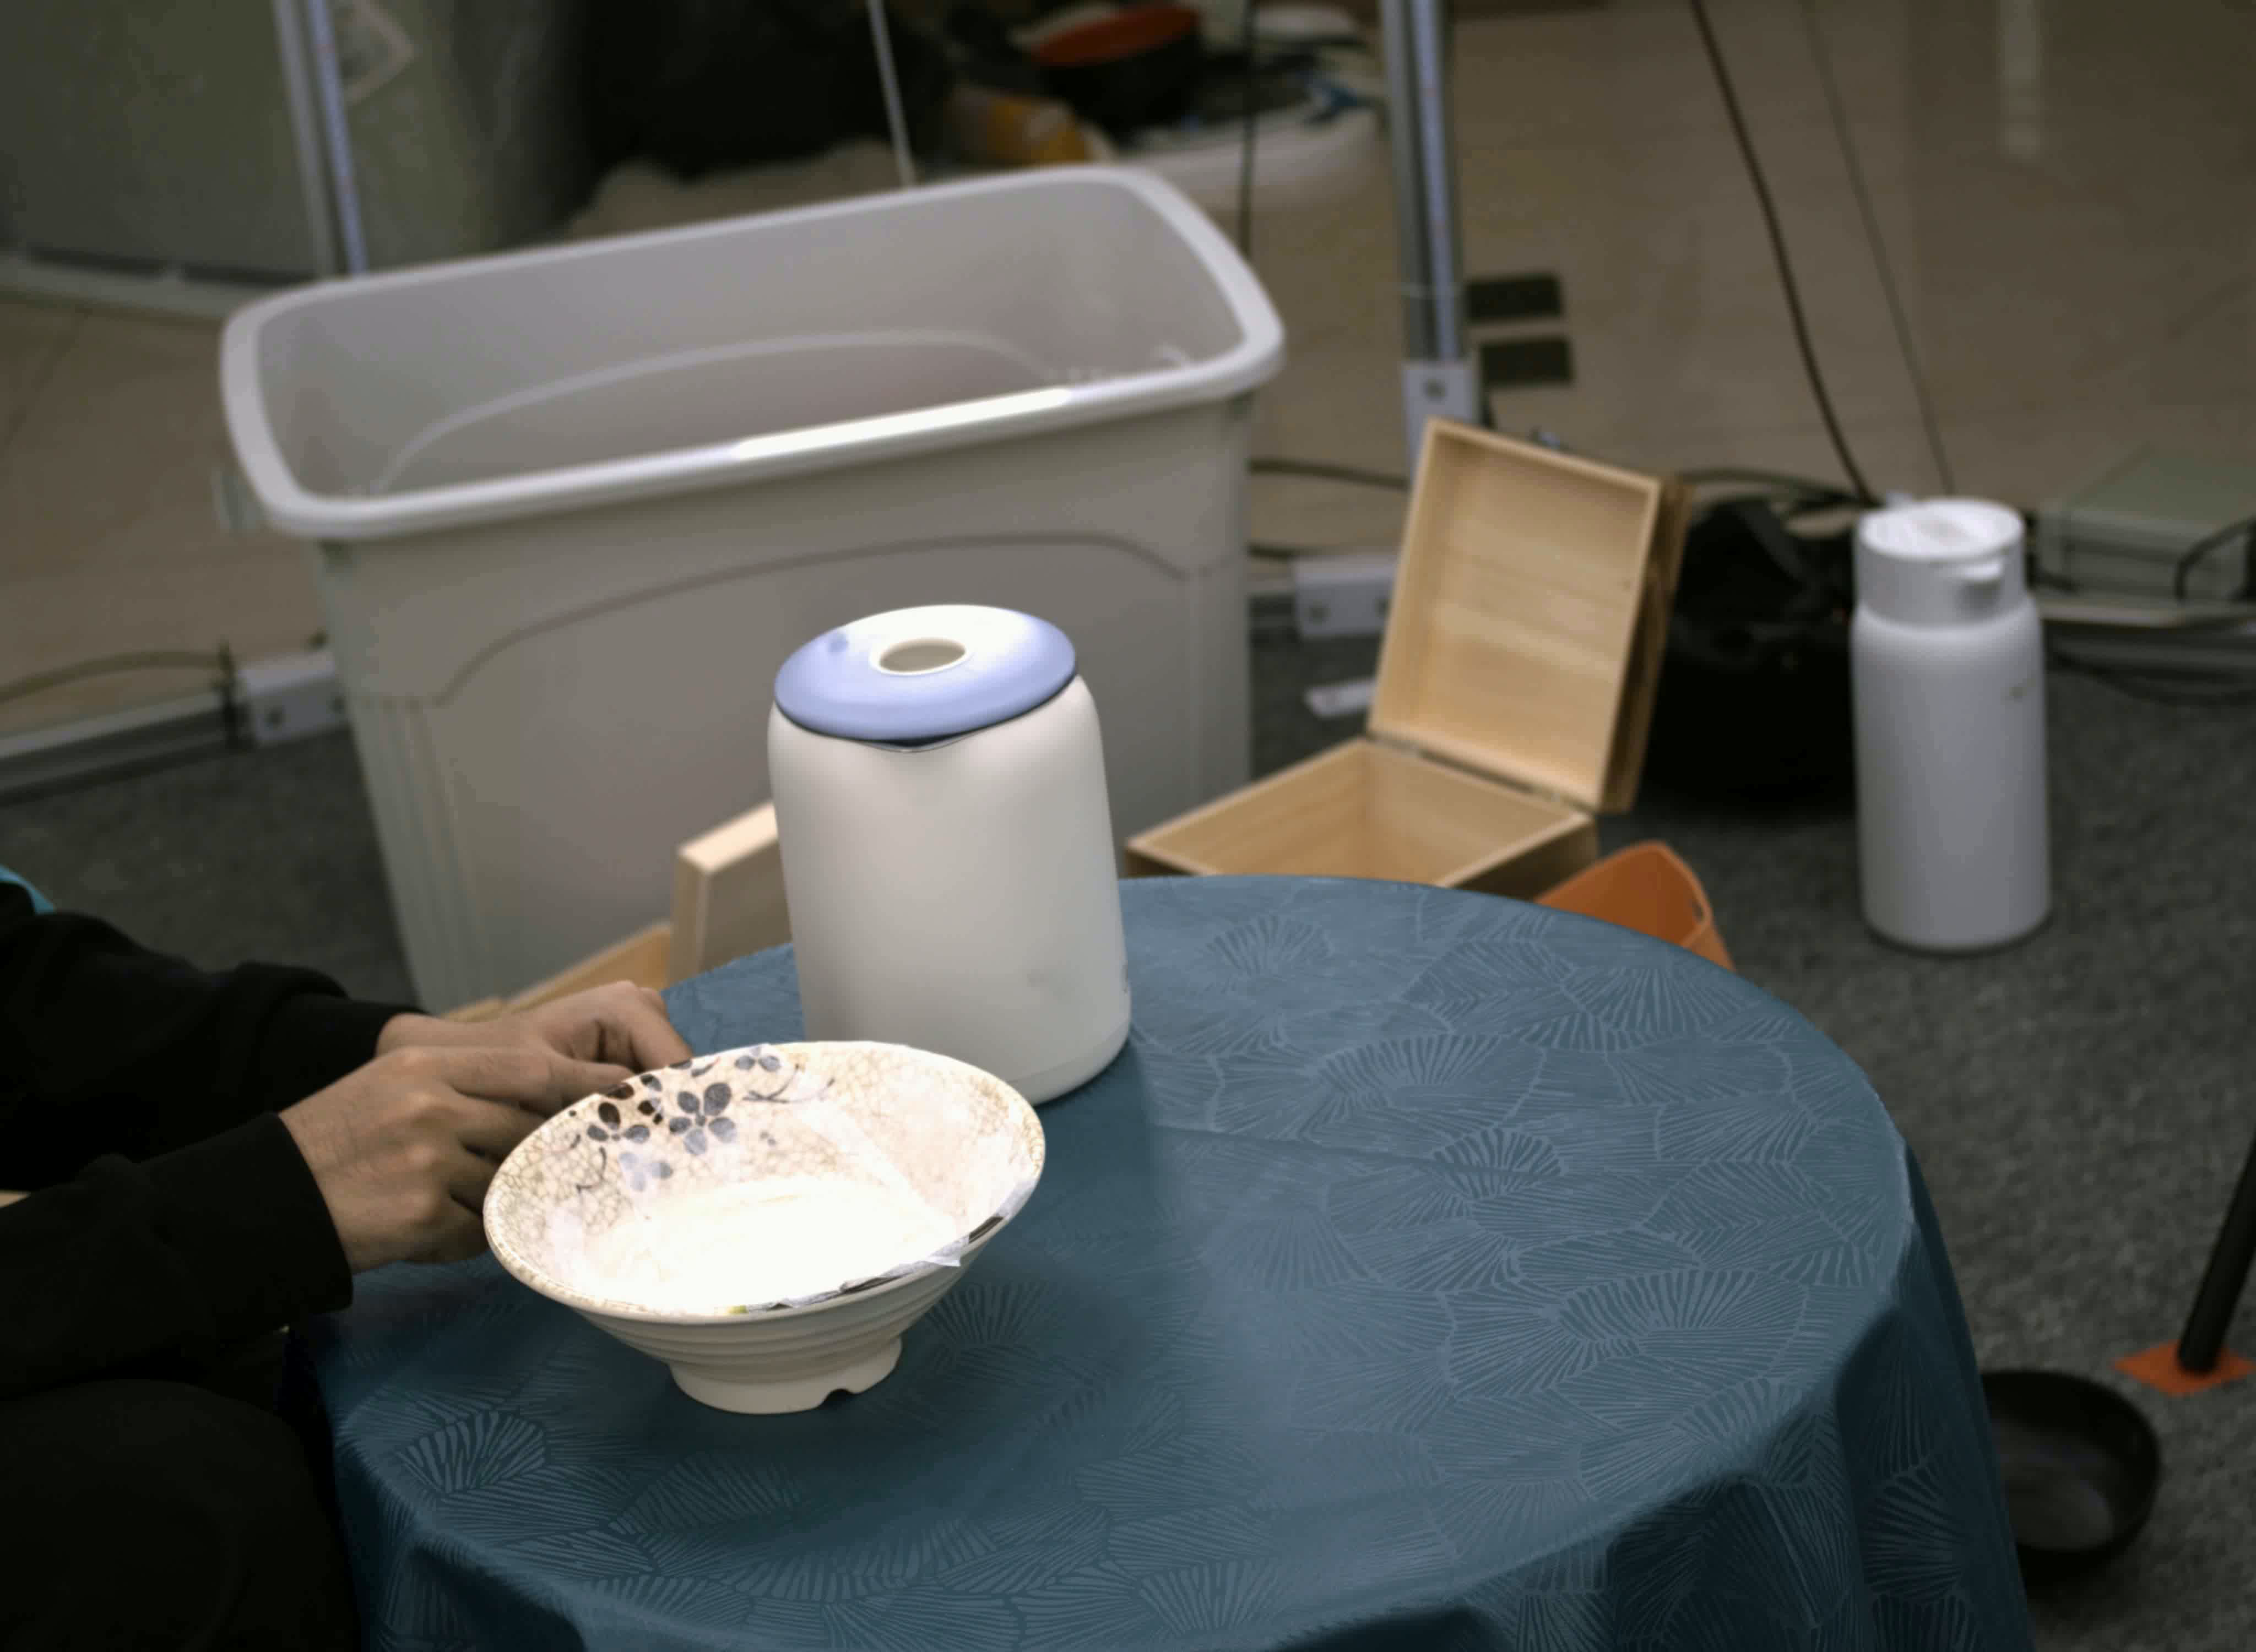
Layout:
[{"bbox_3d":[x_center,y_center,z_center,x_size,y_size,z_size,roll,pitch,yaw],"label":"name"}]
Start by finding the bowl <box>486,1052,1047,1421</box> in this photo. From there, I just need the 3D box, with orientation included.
[{"bbox_3d":[-0.124,0.159,2.043,0.204,0.079,0.201,-8,23,4],"label":"bowl"}]

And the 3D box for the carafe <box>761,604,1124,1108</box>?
[{"bbox_3d":[-0.073,0.004,2.246,0.132,0.185,0.188,-5,23,1],"label":"carafe"}]
